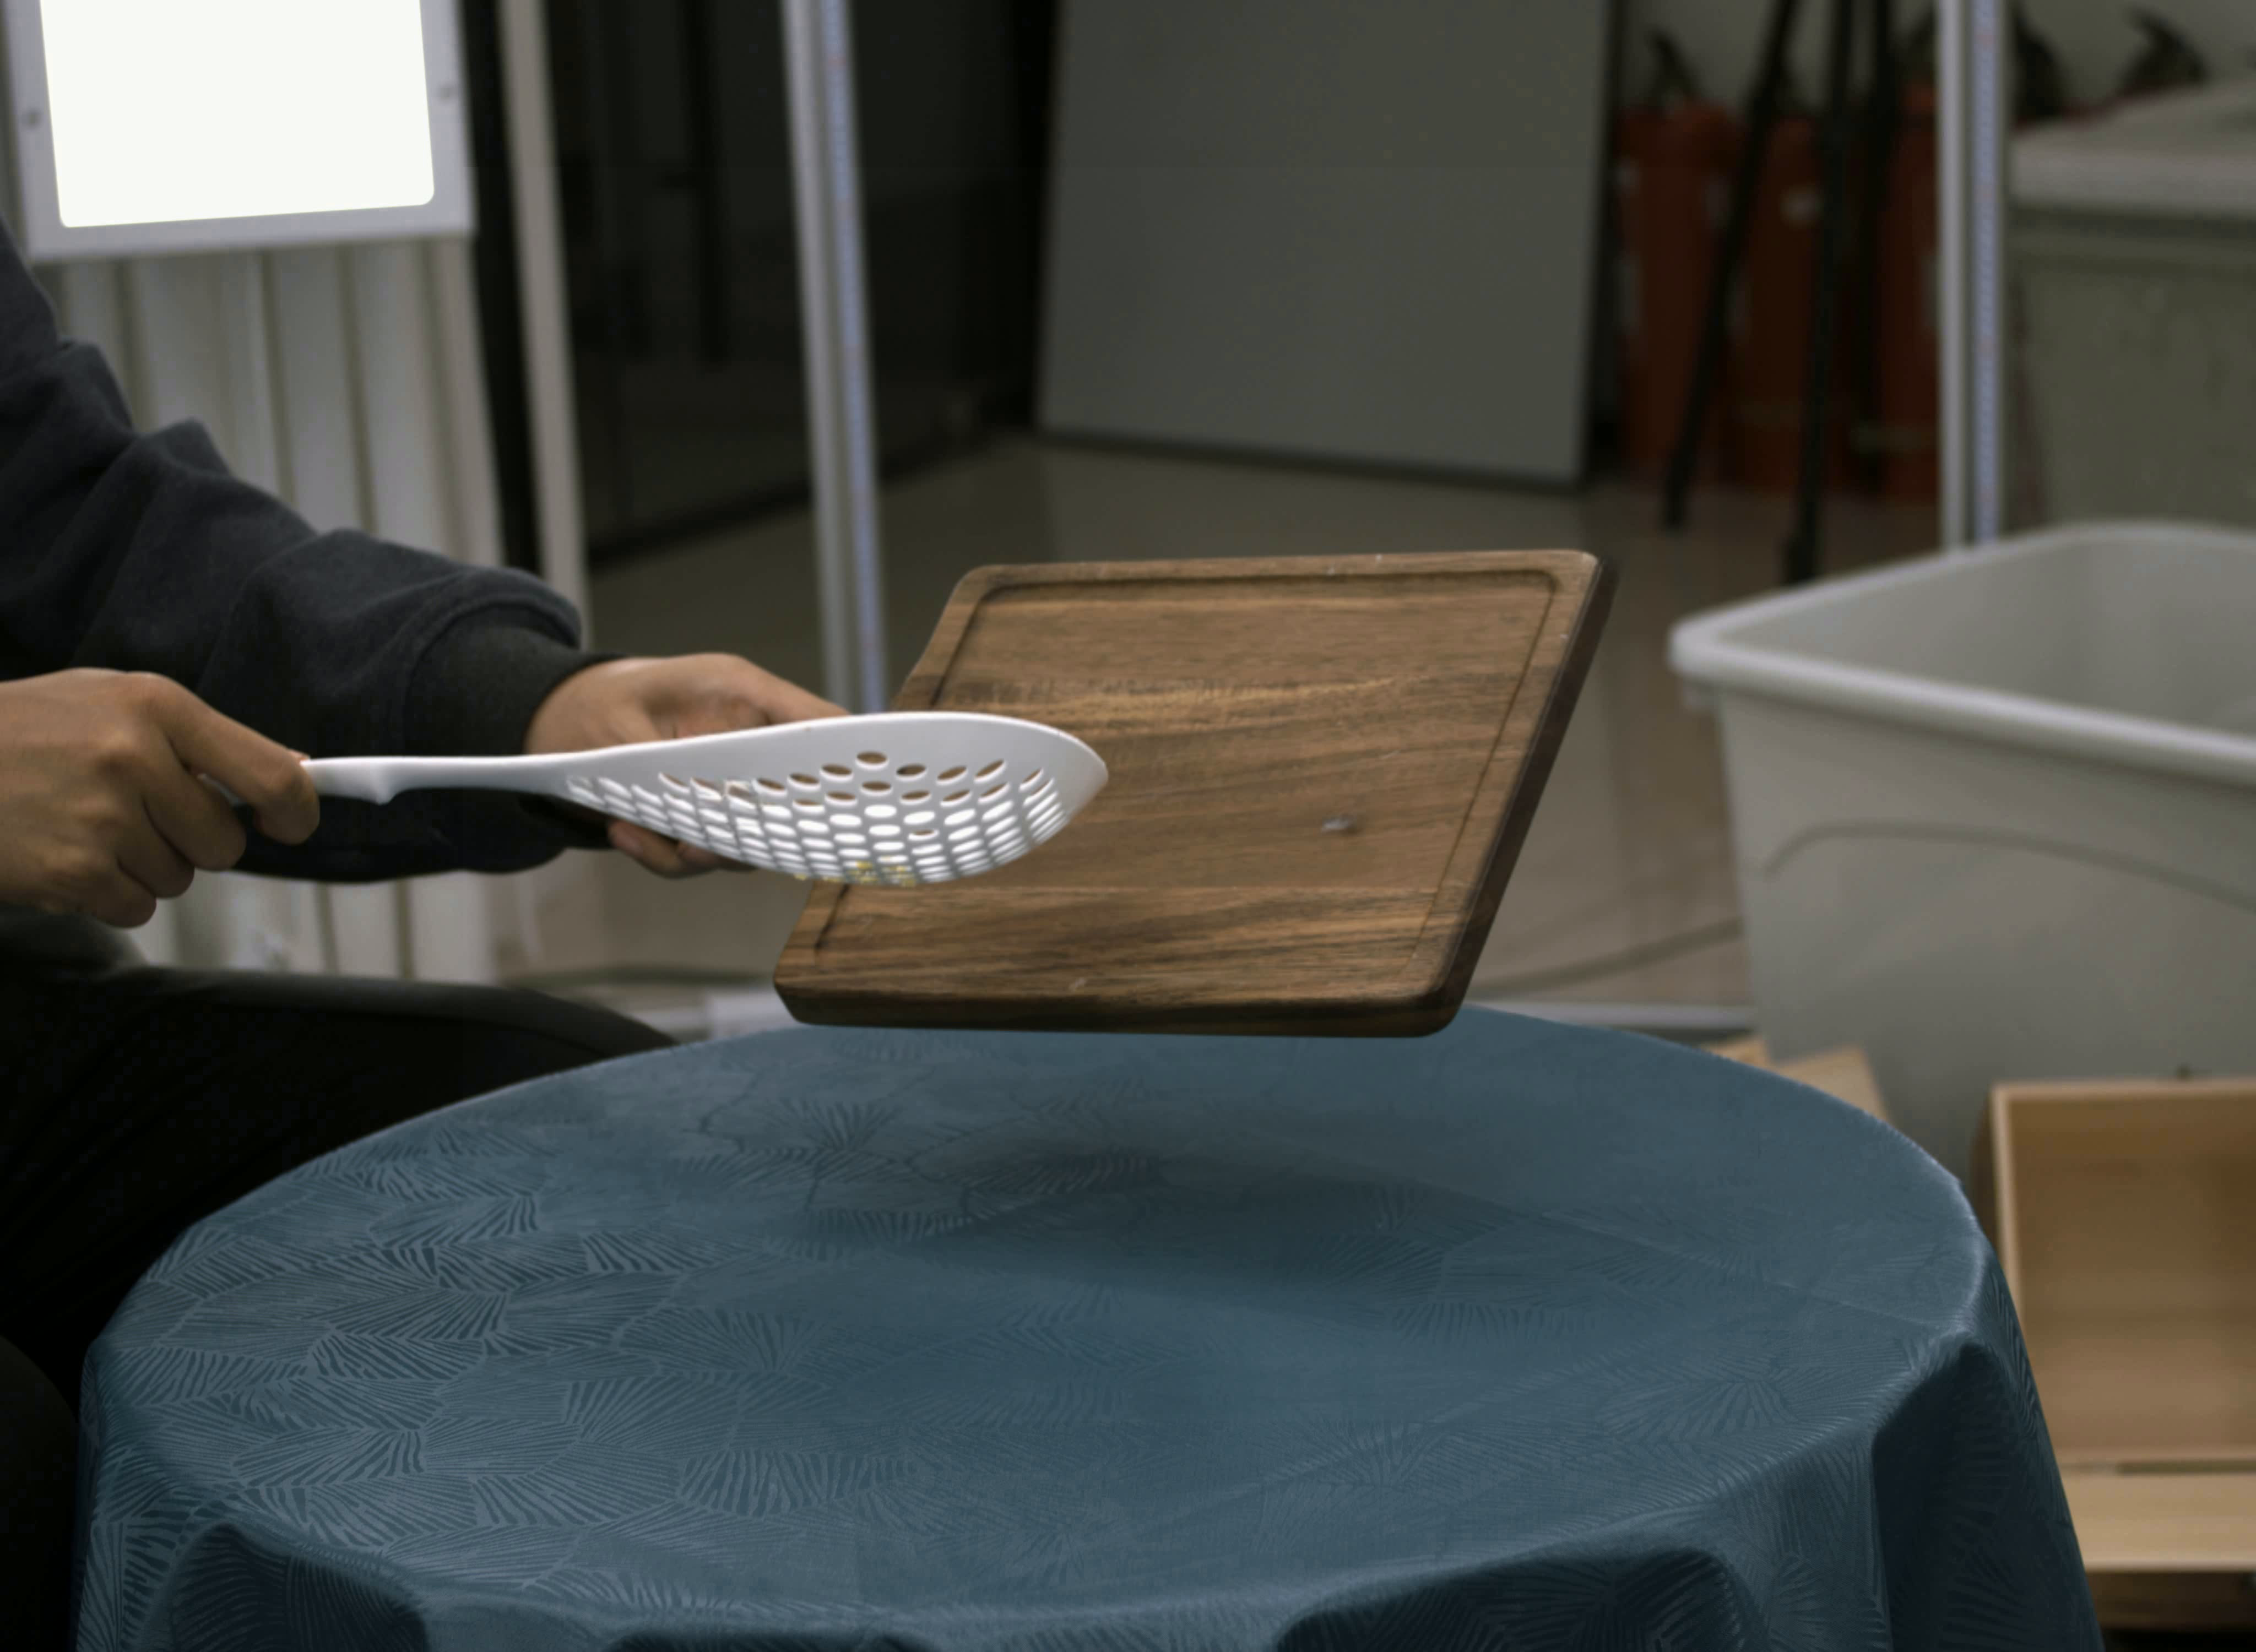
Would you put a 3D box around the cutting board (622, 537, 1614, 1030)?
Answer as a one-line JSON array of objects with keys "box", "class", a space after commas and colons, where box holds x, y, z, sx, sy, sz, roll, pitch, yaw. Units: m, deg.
[{"box": [-0.021, -0.014, 1.800, 0.353, 0.023, 0.201, -1, 48, 31], "class": "cutting board"}]

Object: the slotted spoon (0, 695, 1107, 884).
[{"box": [-0.179, -0.007, 1.674, 0.344, 0.051, 0.136, 2, -11, 6], "class": "slotted spoon"}]
